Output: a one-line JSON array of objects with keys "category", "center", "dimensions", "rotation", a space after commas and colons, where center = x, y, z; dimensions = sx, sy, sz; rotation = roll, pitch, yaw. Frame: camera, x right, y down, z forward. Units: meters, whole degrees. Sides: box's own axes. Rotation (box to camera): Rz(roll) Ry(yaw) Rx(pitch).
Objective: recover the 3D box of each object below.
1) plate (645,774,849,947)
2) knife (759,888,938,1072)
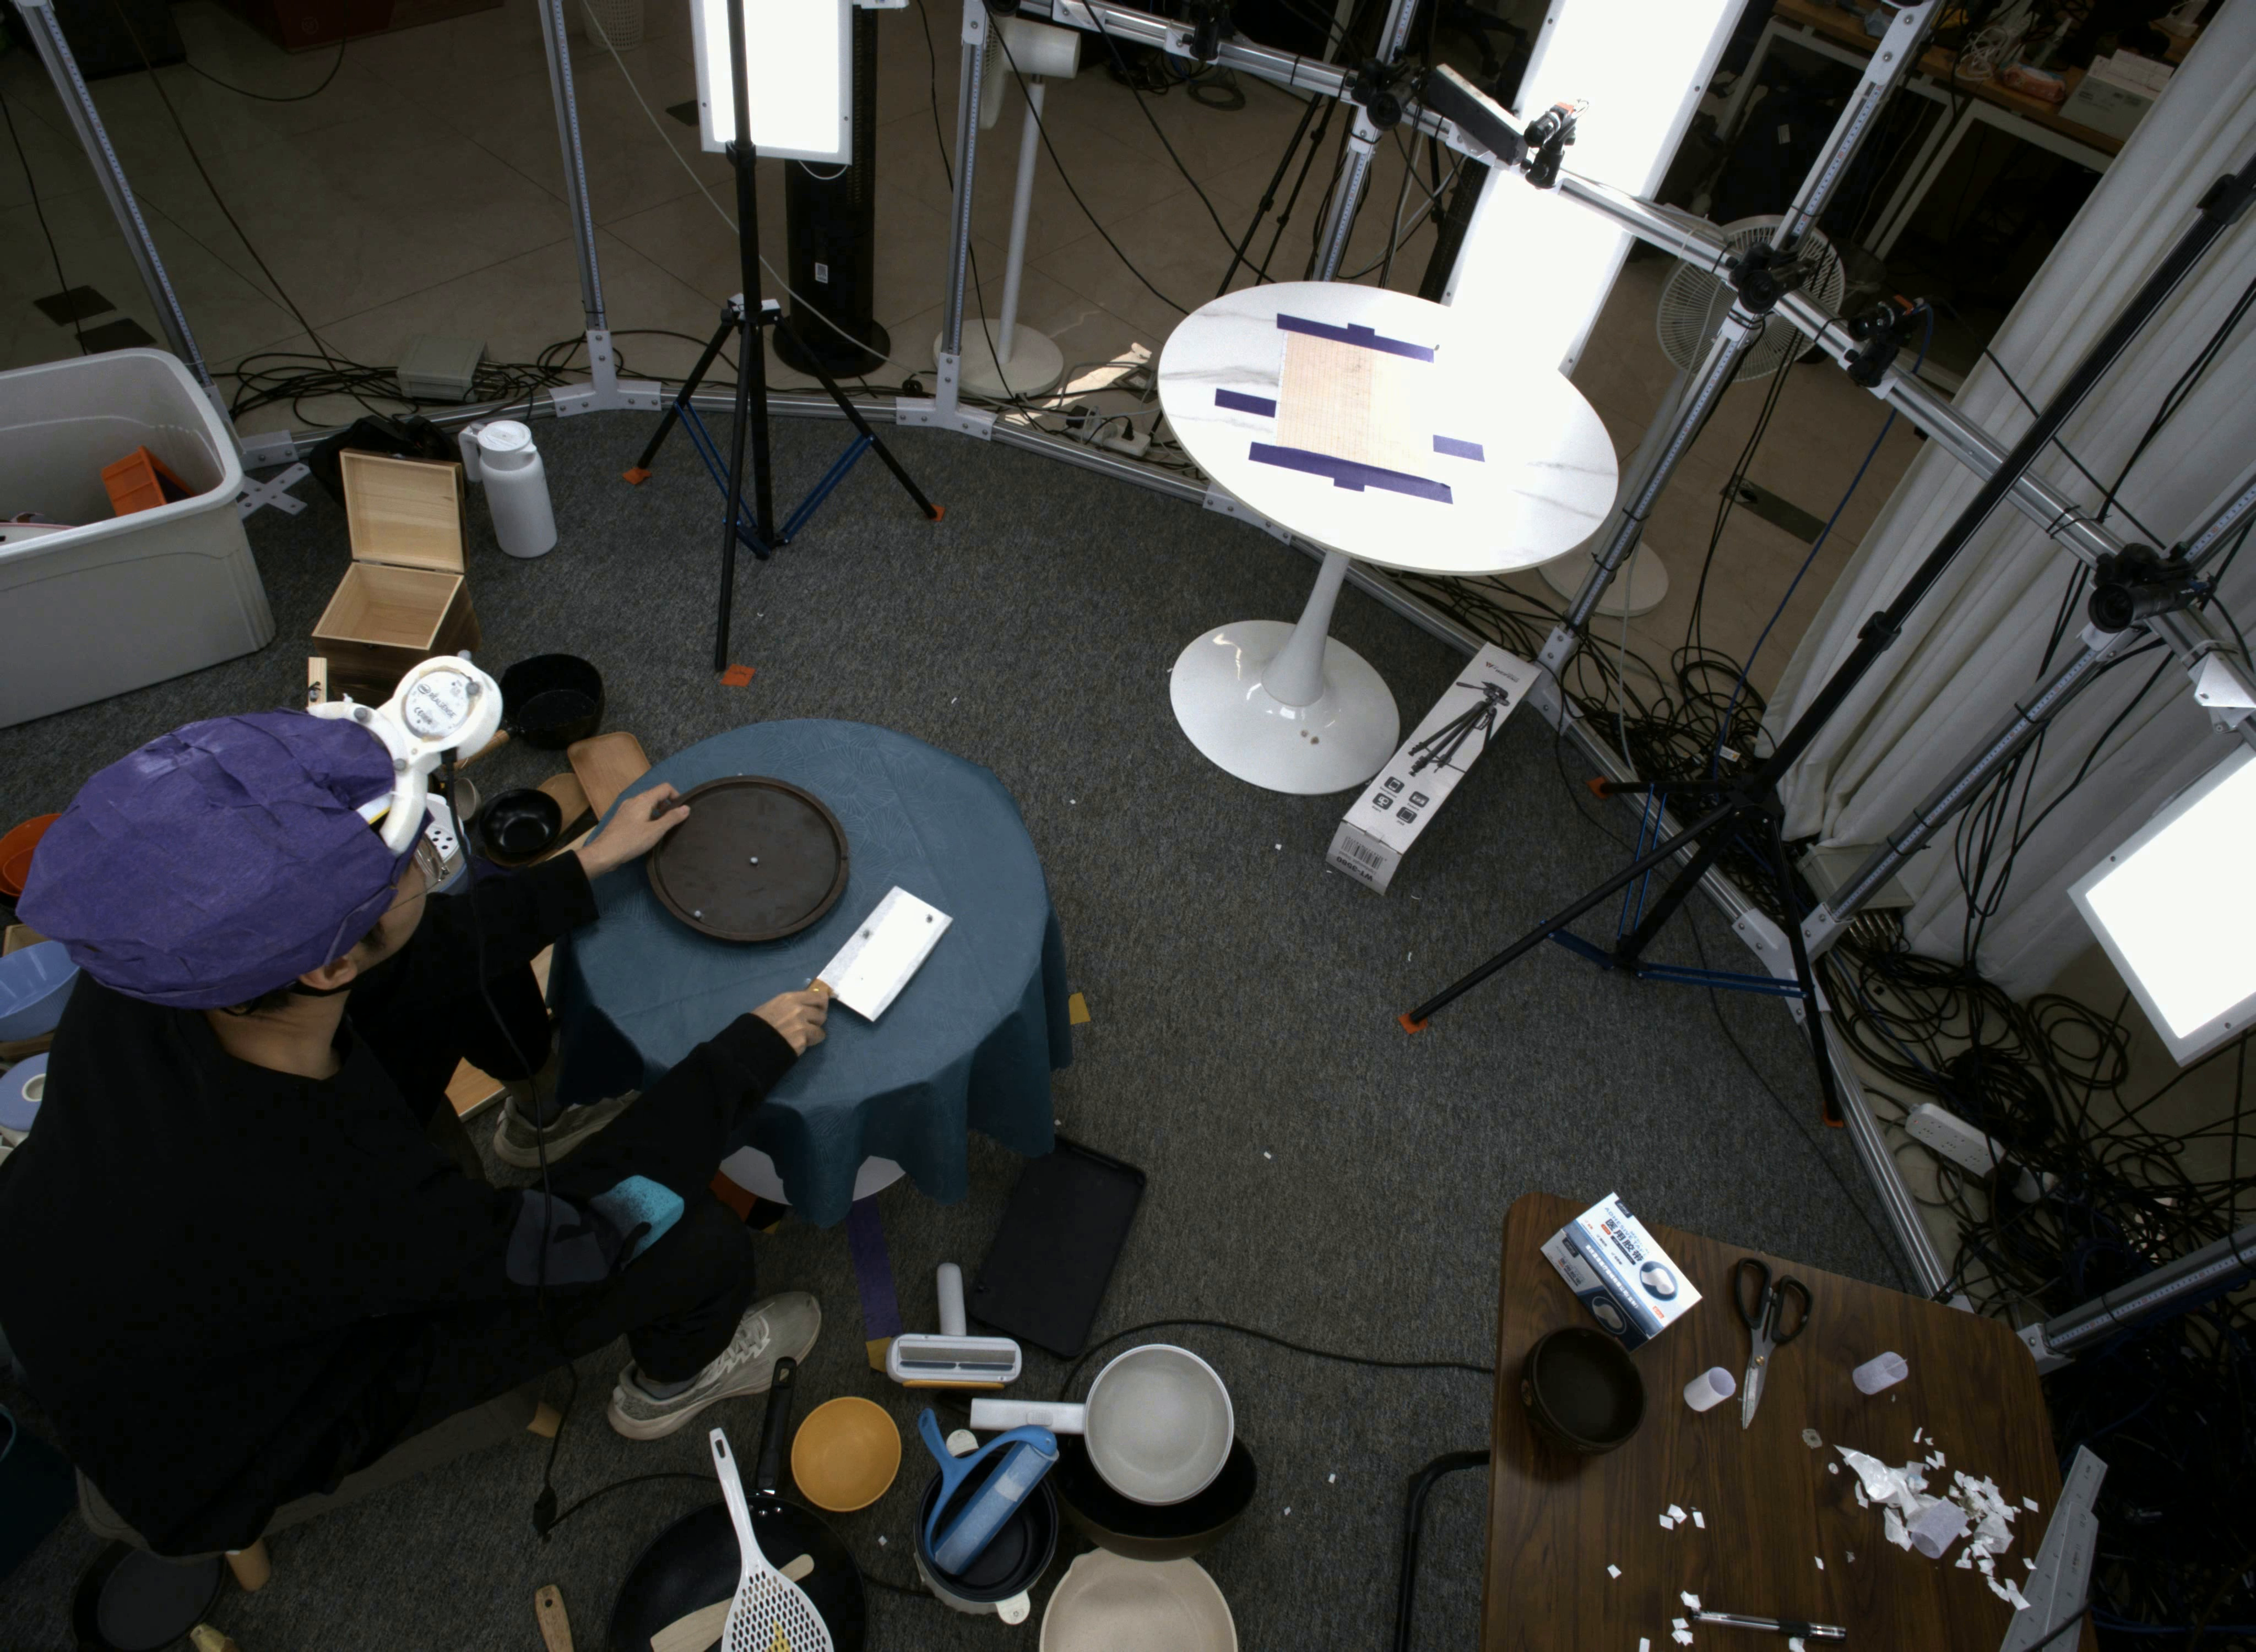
[{"category": "plate", "center": [-0.481, 0.041, 1.639], "dimensions": [0.256, 0.029, 0.250], "rotation": [11, 54, -14]}, {"category": "knife", "center": [-0.328, 0.187, 1.575], "dimensions": [0.092, 0.021, 0.304], "rotation": [29, 47, 4]}]
